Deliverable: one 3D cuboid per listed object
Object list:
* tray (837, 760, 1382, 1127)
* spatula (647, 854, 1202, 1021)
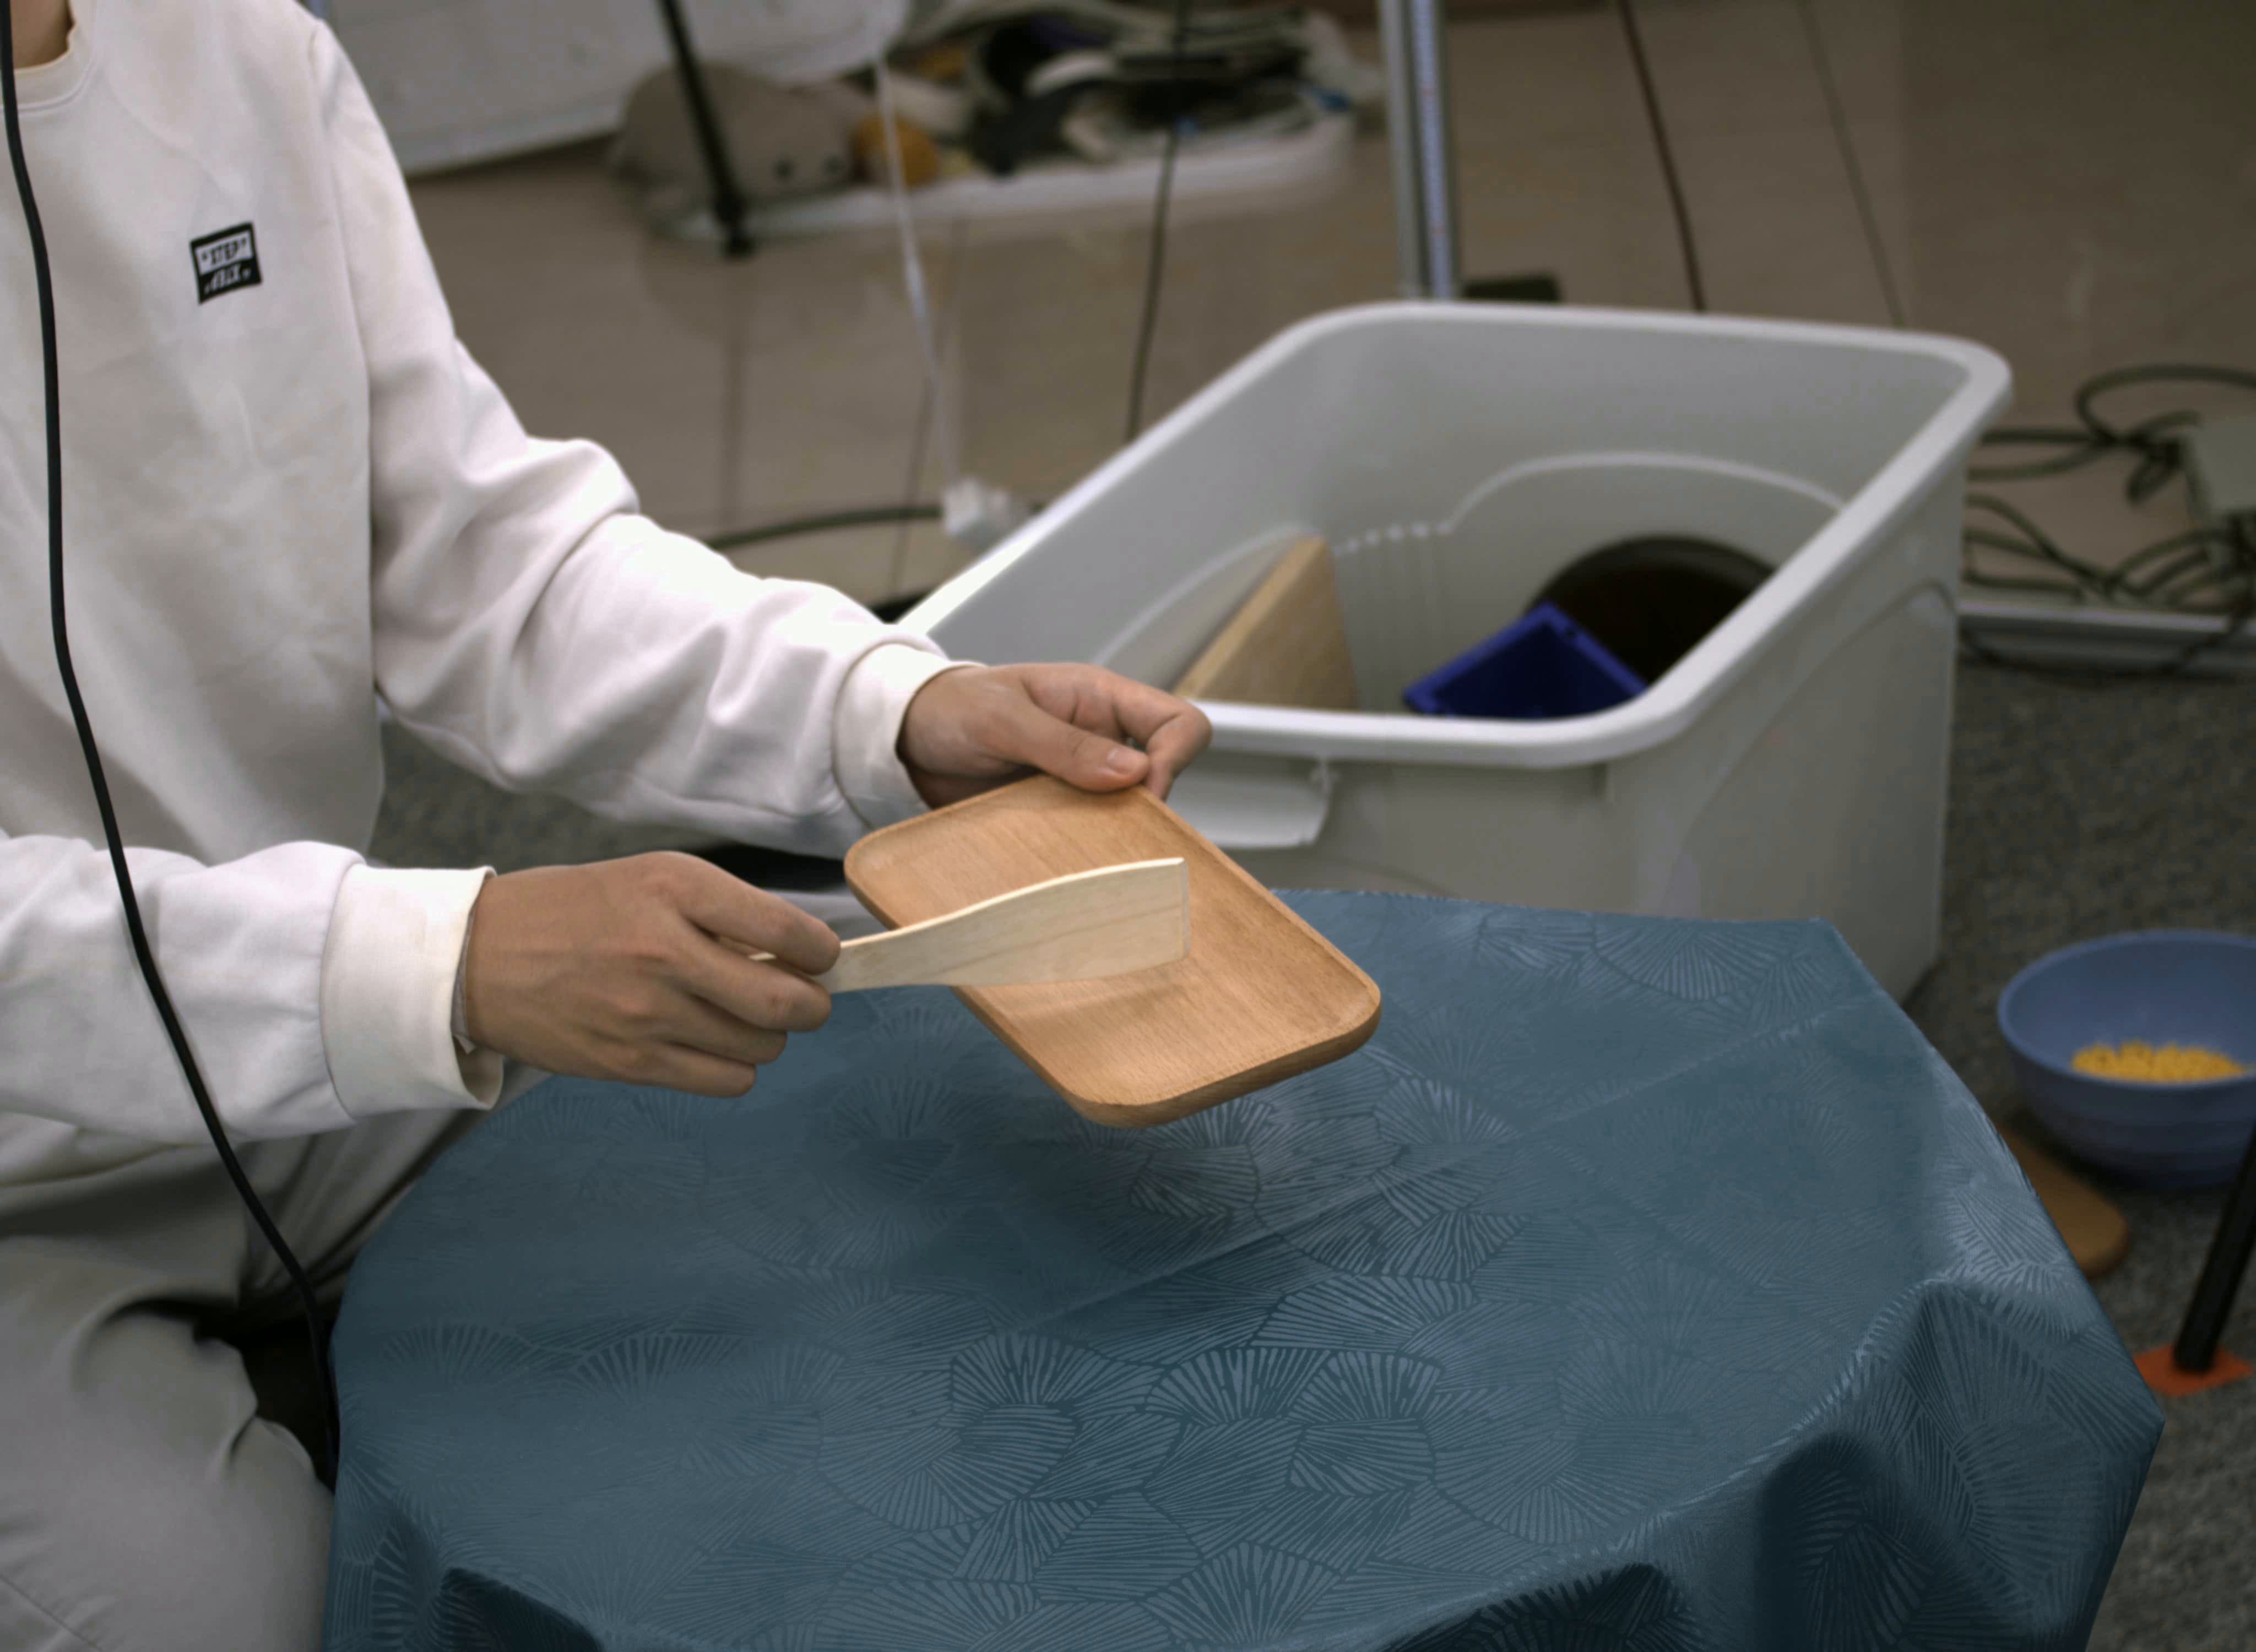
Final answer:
[{"bbox_3d":[-0.010,0.042,2.145,0.130,0.023,0.247,-16,30,-22],"label":"tray"},{"bbox_3d":[-0.075,0.047,2.084,0.207,0.051,0.005,-10,37,-7],"label":"spatula"}]
